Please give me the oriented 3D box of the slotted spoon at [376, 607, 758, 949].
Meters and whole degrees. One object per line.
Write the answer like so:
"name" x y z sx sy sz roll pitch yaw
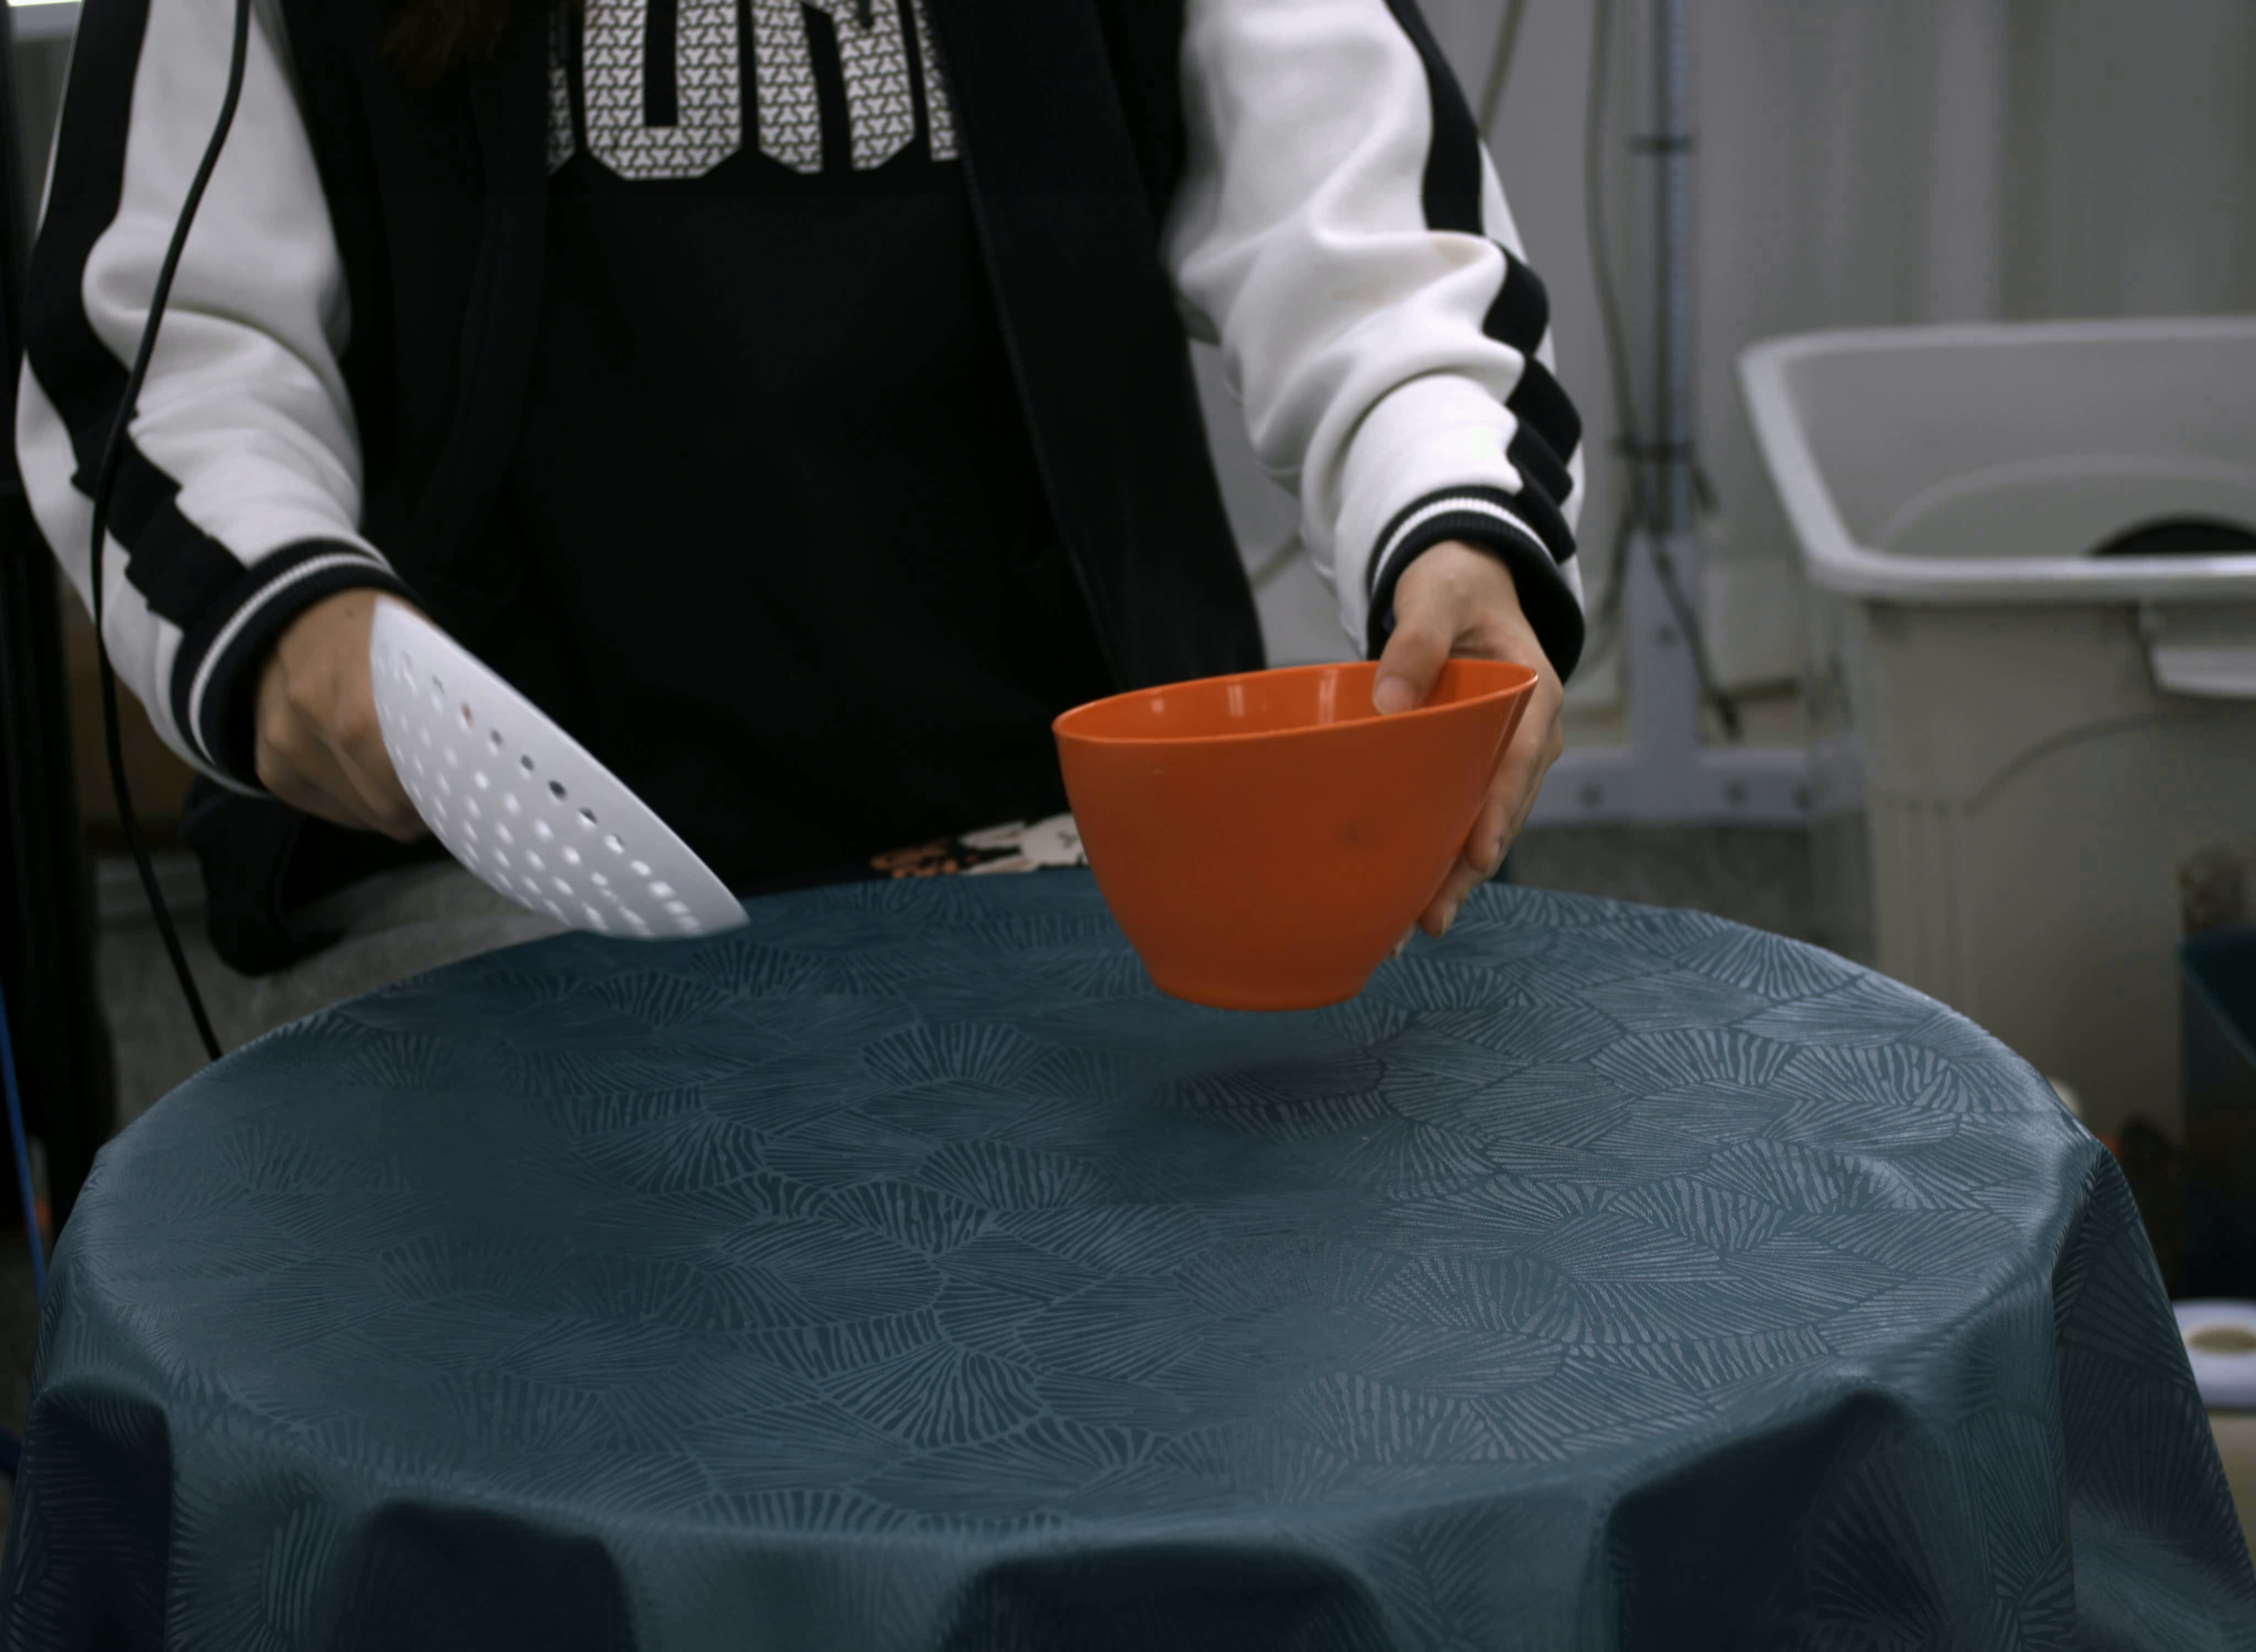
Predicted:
"slotted spoon" -0.190 -0.016 1.598 0.046 0.134 0.353 -49 14 -4

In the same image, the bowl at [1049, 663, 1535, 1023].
"bowl" 0.049 0.004 1.618 0.147 0.105 0.149 -1 15 -1
